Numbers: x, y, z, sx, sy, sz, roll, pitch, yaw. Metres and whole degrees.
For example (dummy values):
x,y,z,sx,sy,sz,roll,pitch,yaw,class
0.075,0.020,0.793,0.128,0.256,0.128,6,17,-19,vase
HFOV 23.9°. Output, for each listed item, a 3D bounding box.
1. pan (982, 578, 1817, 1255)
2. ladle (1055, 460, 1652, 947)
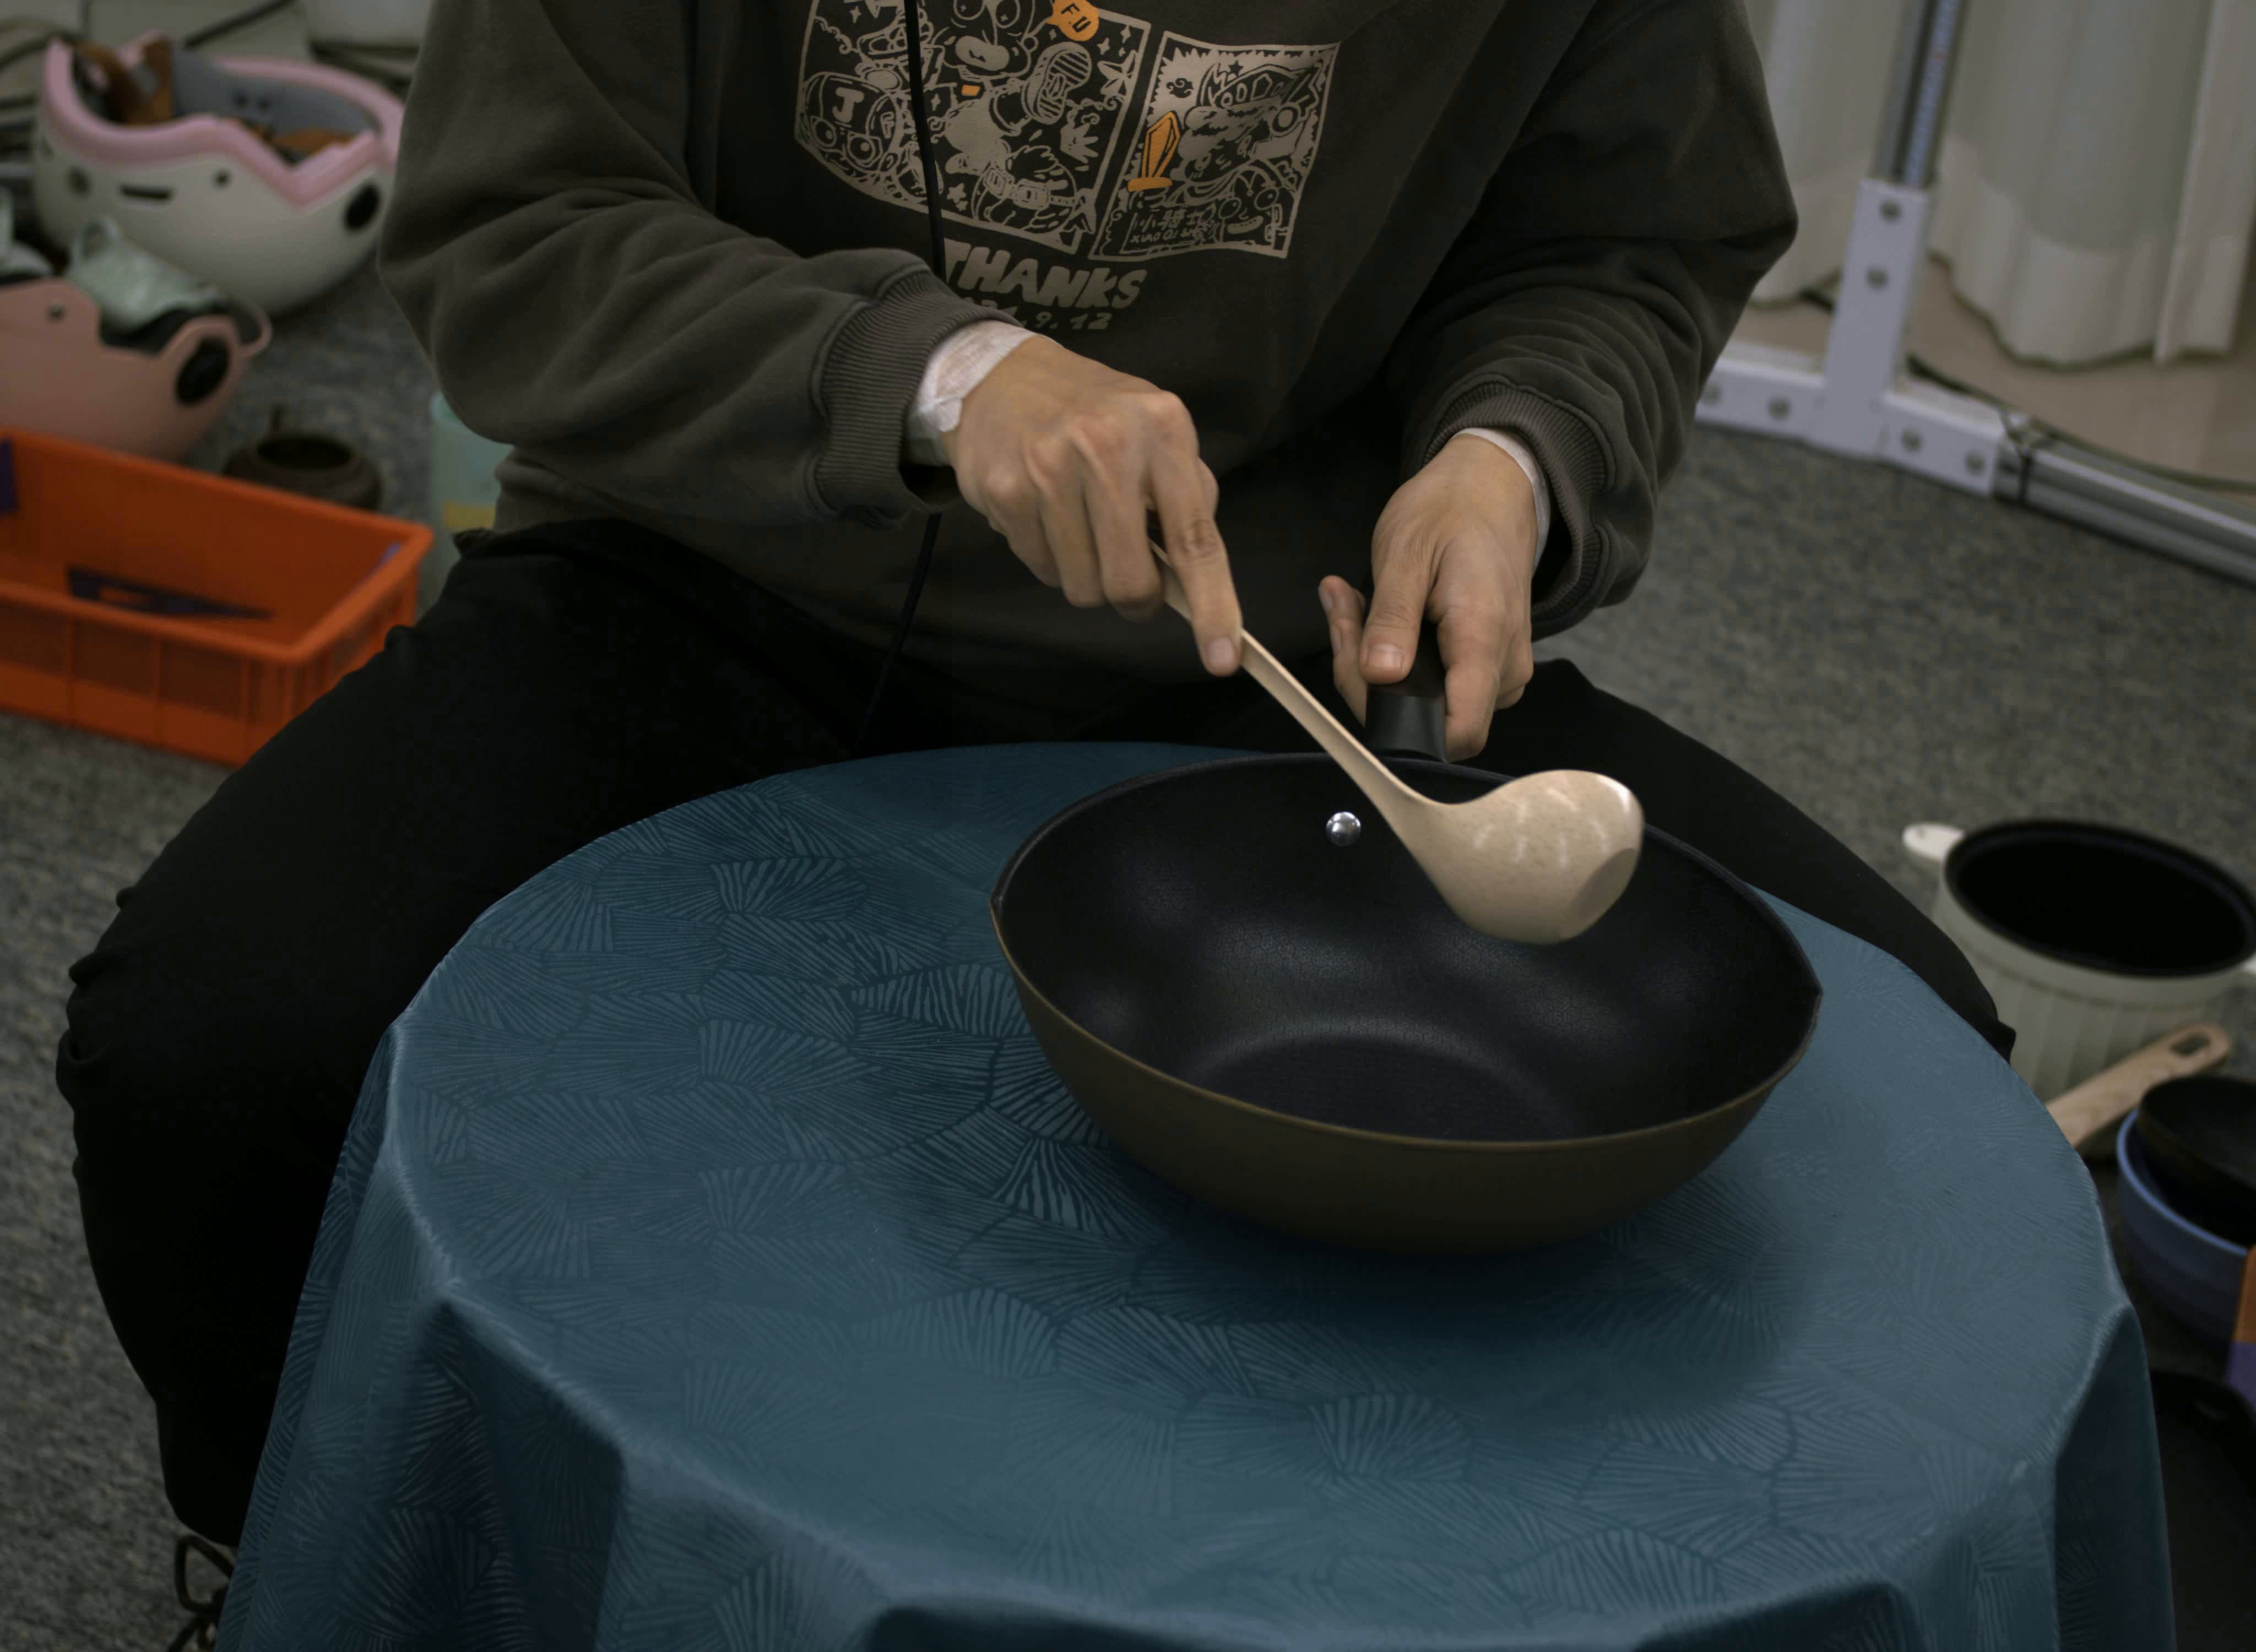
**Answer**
x,y,z,sx,sy,sz,roll,pitch,yaw,class
0.094,0.033,1.914,0.287,0.086,0.466,6,25,0,pan
0.081,-0.058,1.873,0.072,0.072,0.256,-29,63,-30,ladle
